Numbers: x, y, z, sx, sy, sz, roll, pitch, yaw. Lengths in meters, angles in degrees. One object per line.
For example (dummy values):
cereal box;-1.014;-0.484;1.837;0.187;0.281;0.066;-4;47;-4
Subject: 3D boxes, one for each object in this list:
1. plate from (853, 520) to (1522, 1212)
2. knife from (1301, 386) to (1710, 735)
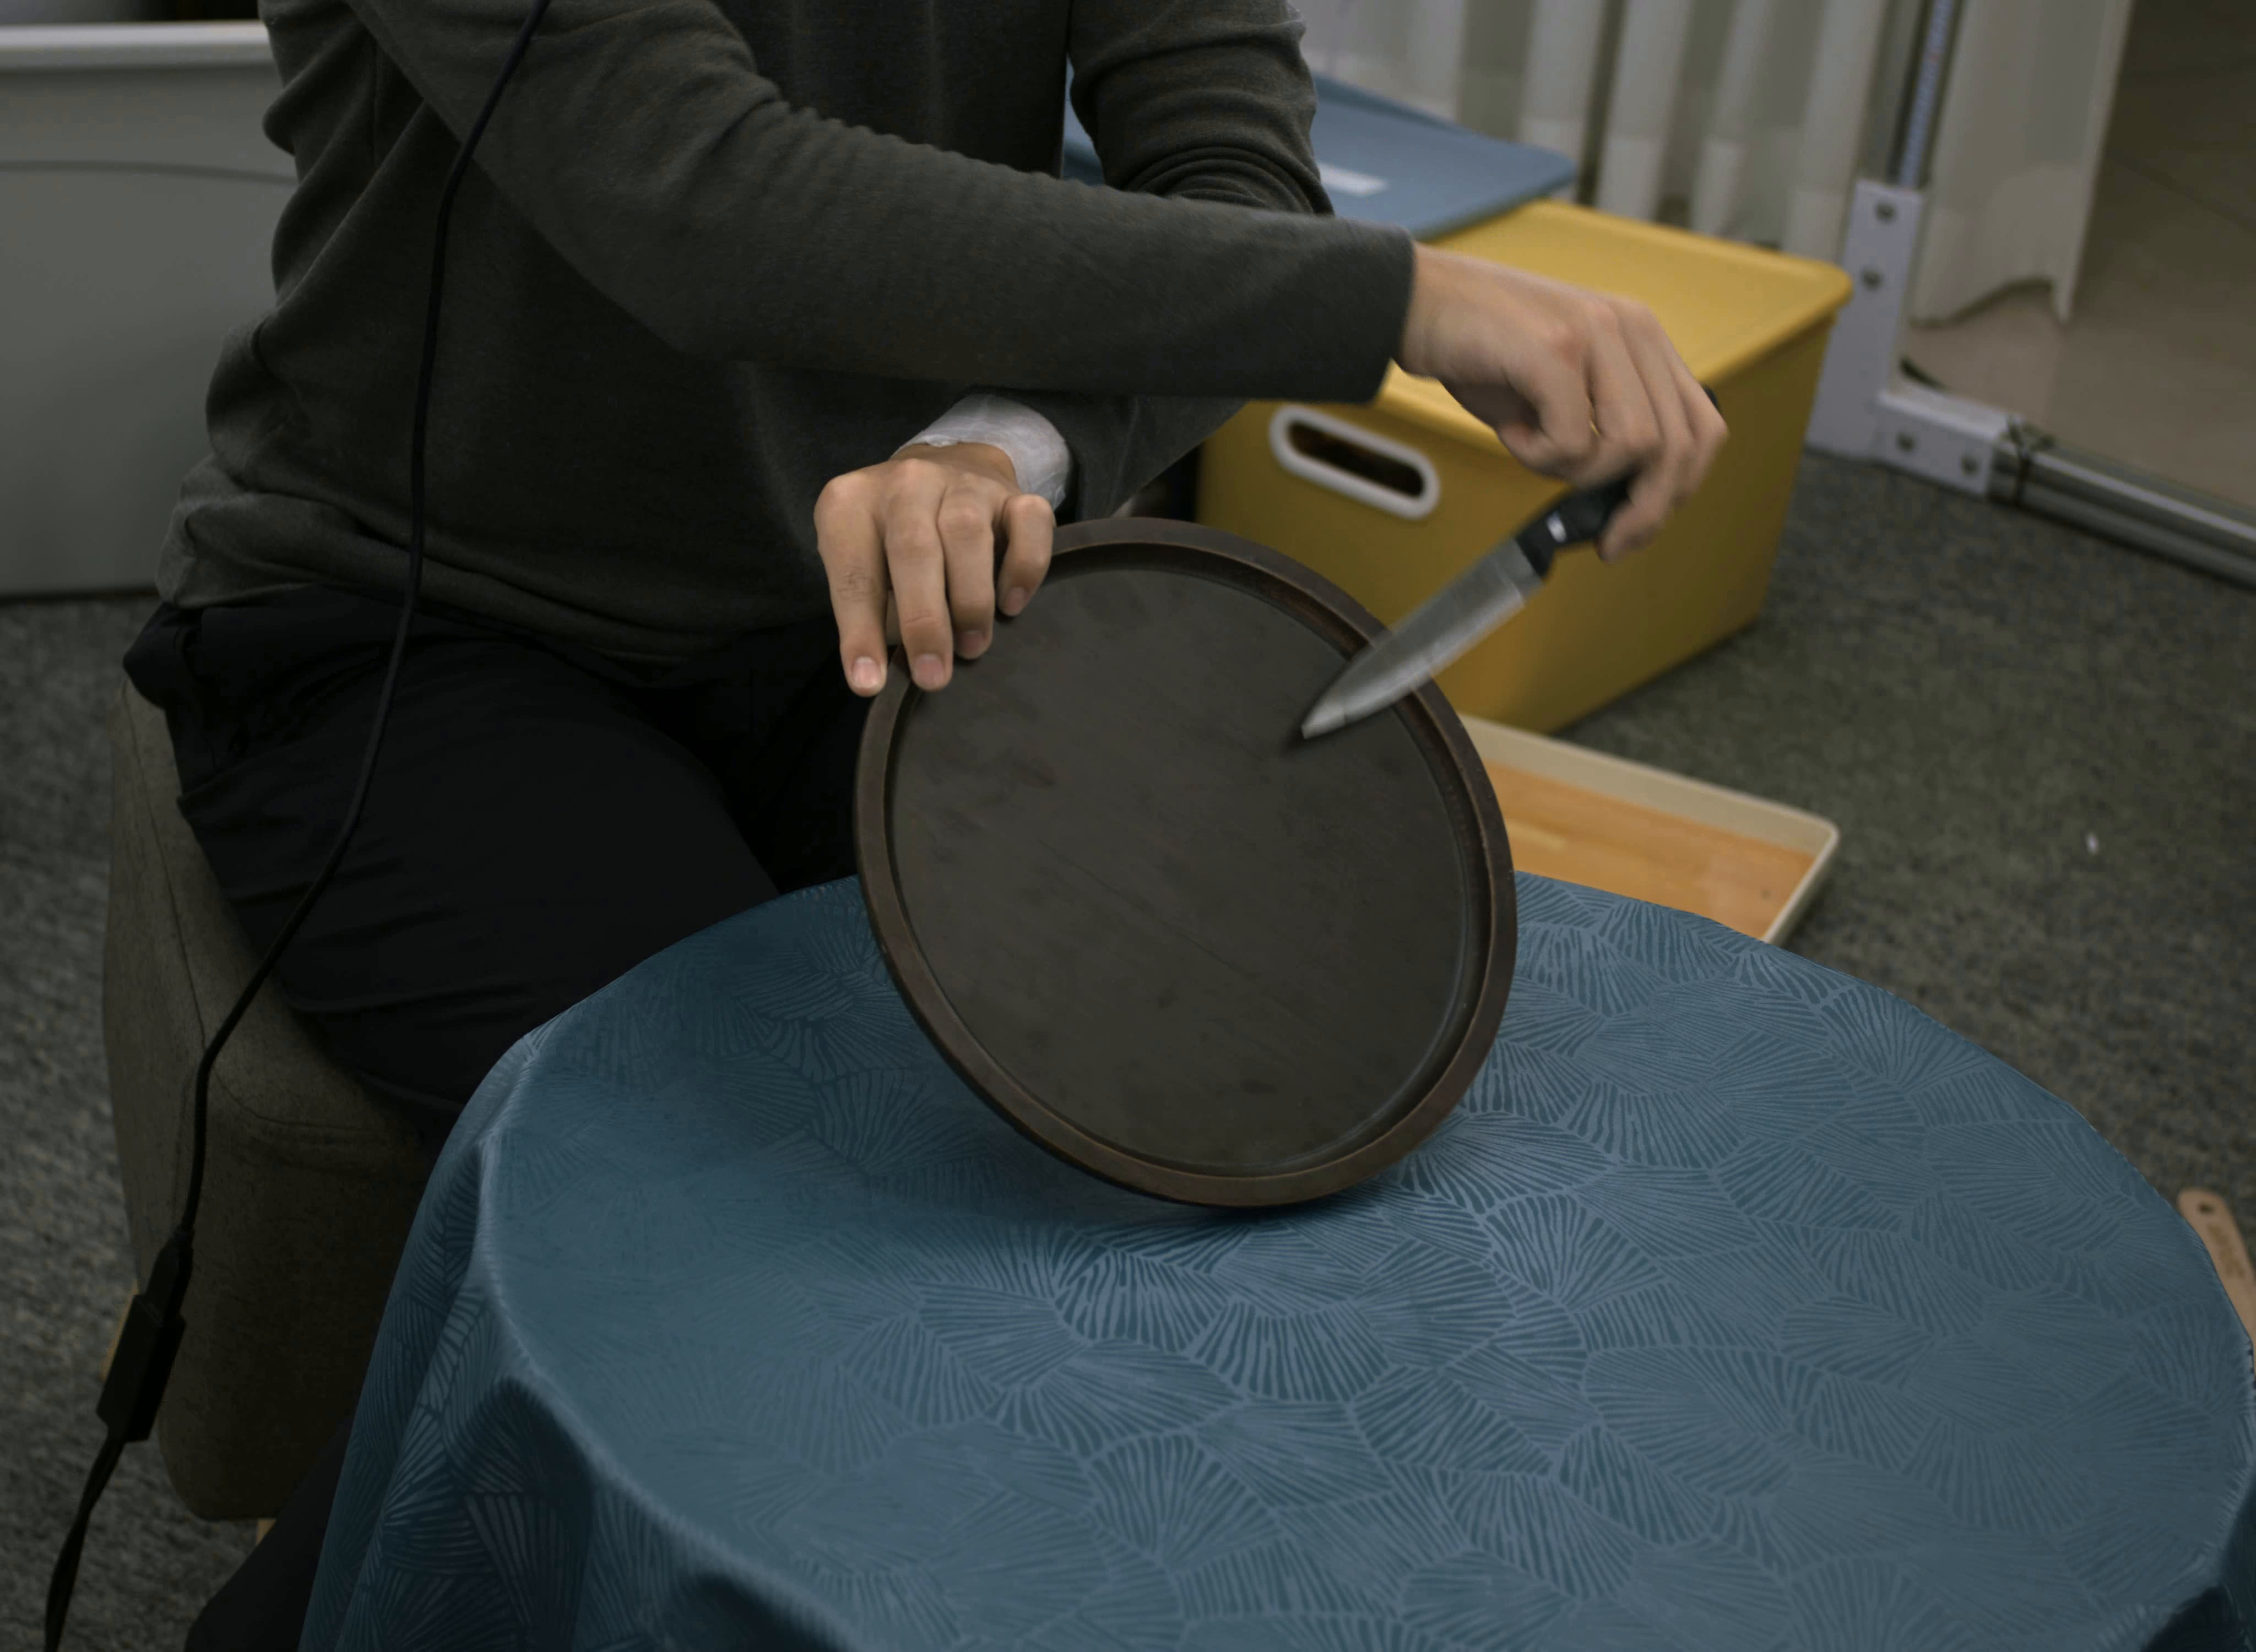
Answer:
plate;0.021;0.013;1.839;0.253;0.029;0.256;10;64;-23
knife;0.136;-0.098;1.930;0.238;0.024;0.016;-40;9;-34
